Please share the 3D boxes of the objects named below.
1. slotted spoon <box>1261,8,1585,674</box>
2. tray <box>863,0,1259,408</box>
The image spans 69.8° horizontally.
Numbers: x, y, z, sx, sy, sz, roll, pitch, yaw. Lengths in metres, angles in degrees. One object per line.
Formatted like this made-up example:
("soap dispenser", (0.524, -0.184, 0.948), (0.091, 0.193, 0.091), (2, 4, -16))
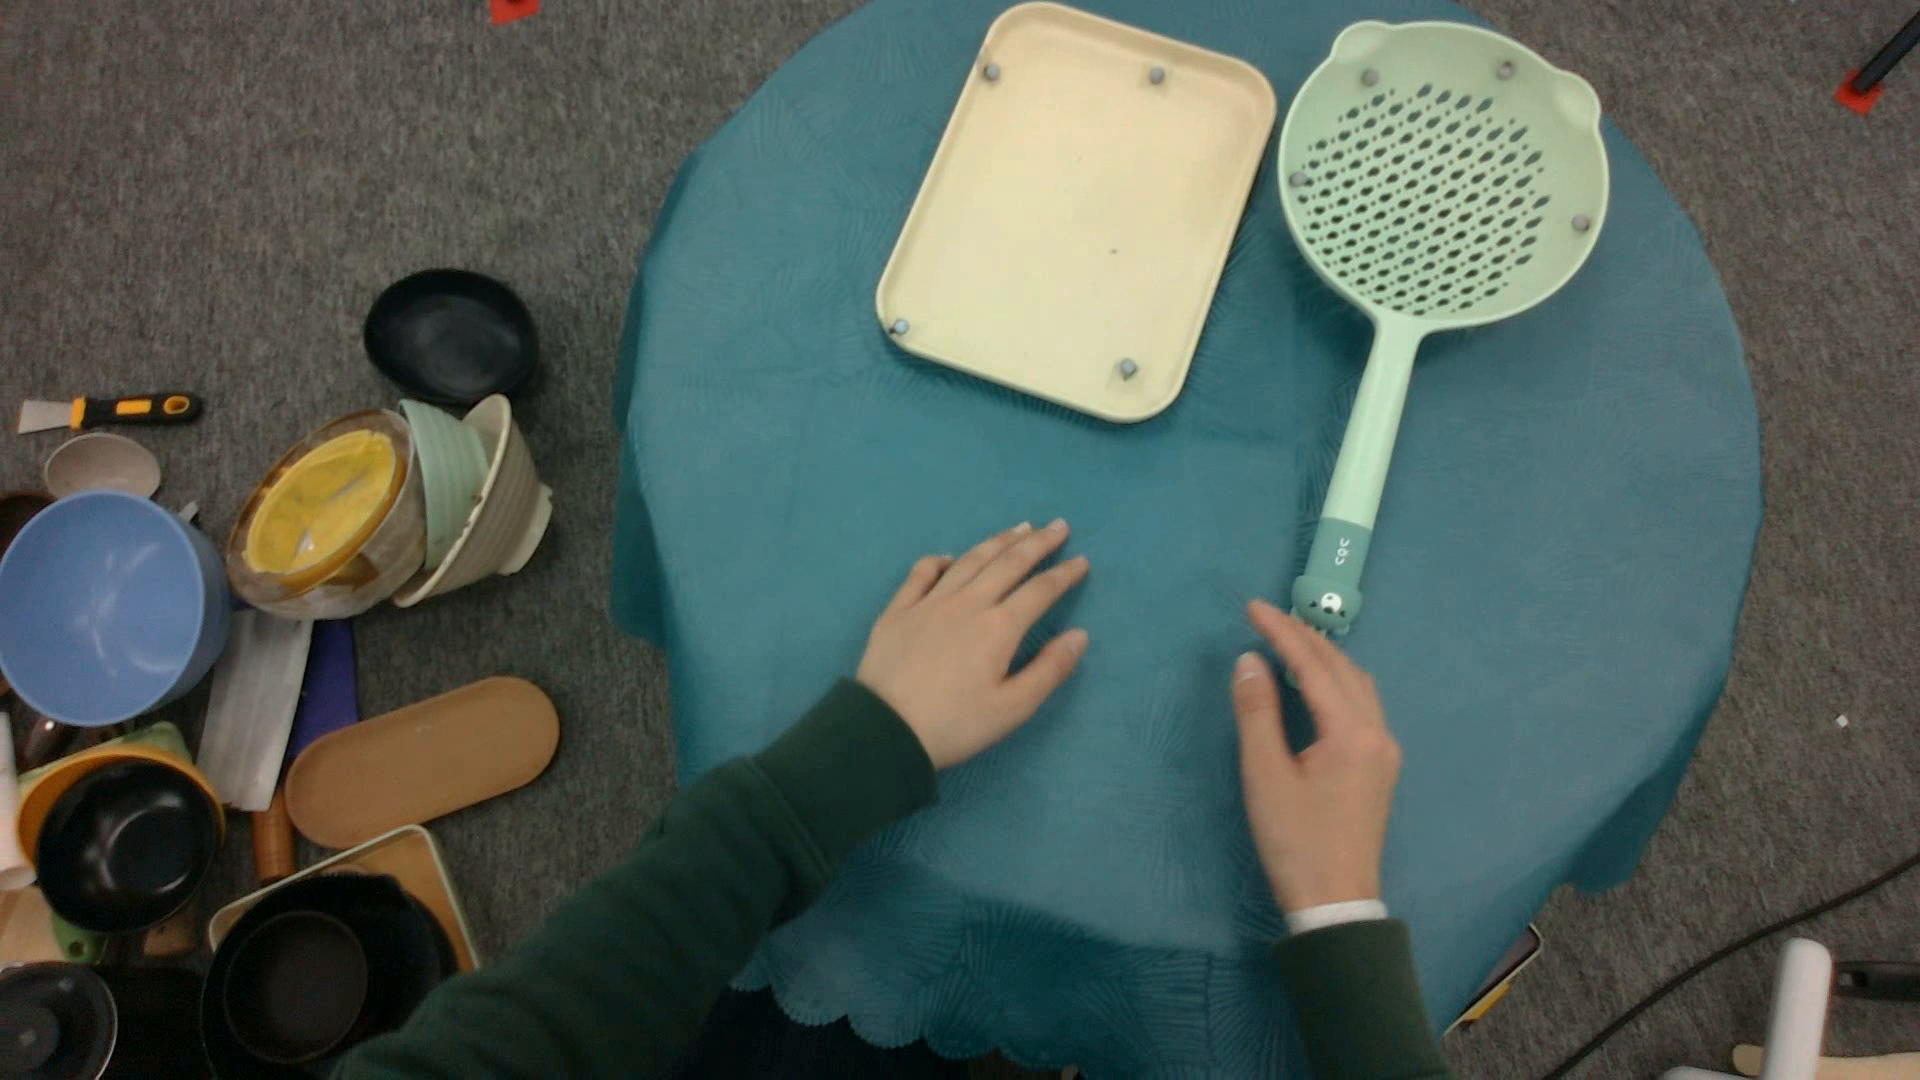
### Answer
("slotted spoon", (0.212, -0.106, 0.710), (0.169, 0.075, 0.360), (17, 71, 4))
("tray", (0.059, -0.192, 0.759), (0.171, 0.017, 0.240), (19, 72, 5))
